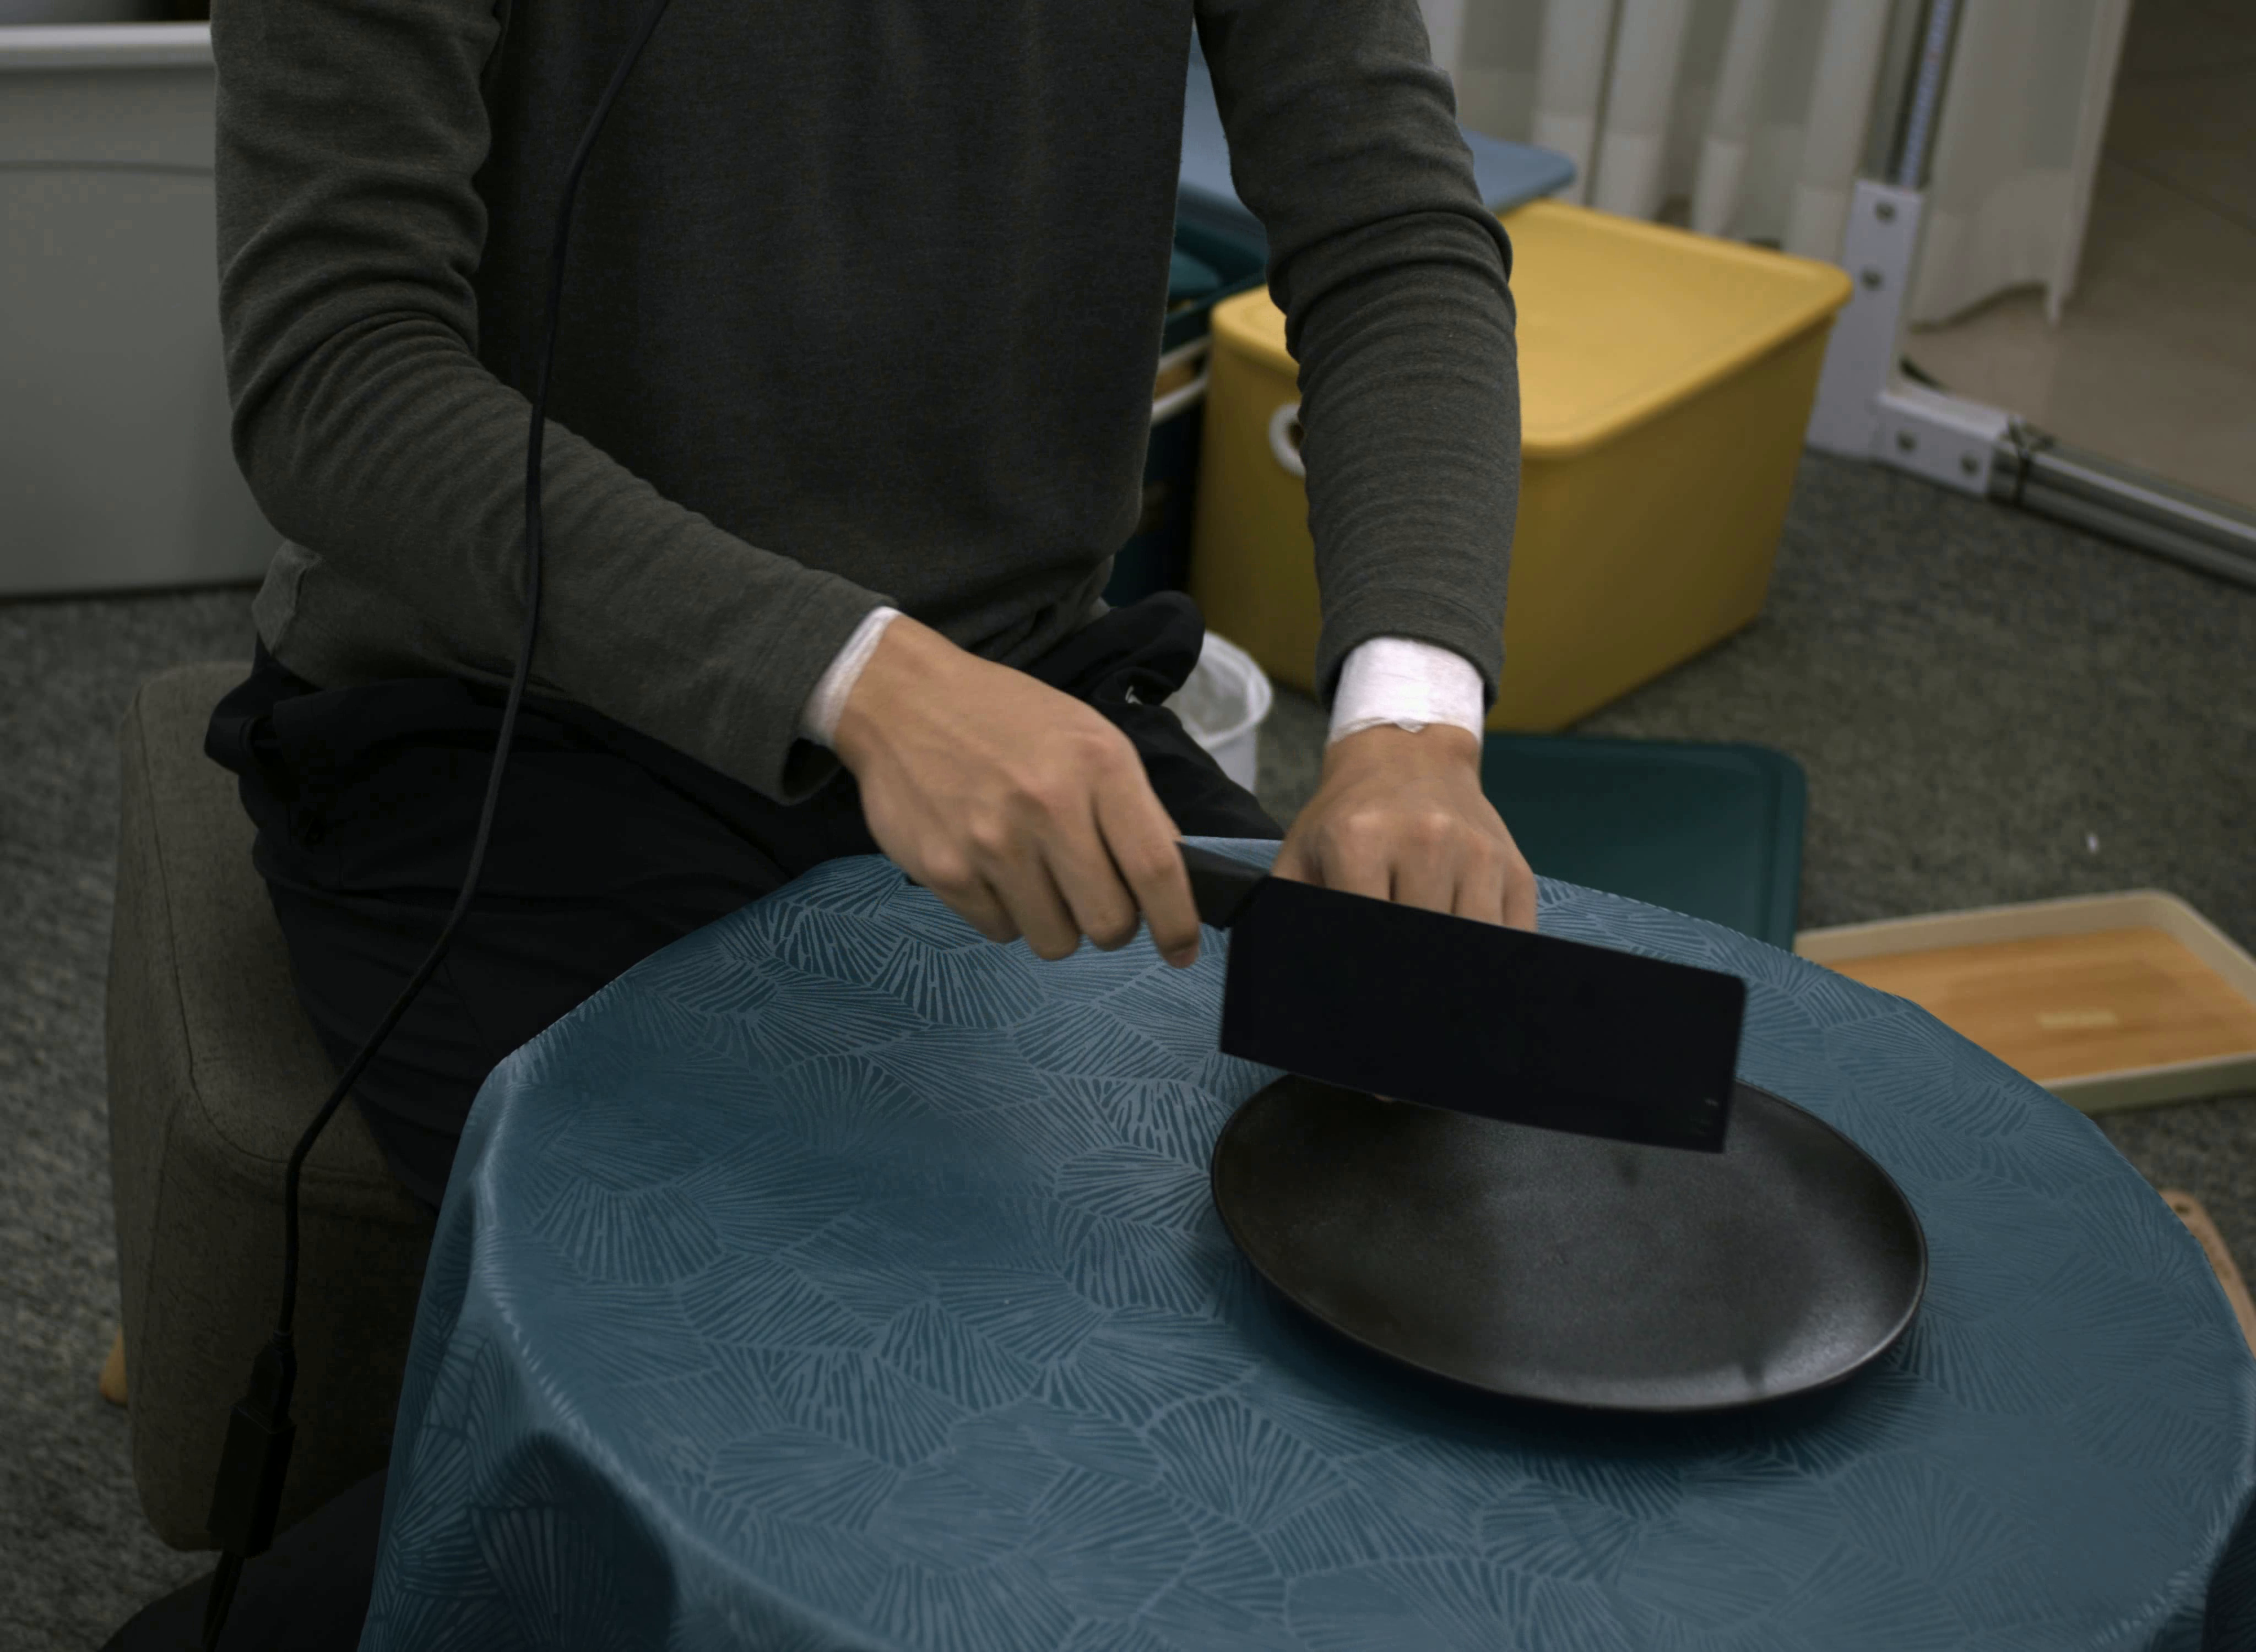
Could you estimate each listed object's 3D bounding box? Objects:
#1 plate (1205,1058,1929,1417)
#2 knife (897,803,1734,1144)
[{"bbox_3d":[0.146,0.138,1.786,0.243,0.023,0.246,5,27,-3],"label":"plate"},{"bbox_3d":[0.058,0.045,1.768,0.303,0.081,0.021,16,16,23],"label":"knife"}]
